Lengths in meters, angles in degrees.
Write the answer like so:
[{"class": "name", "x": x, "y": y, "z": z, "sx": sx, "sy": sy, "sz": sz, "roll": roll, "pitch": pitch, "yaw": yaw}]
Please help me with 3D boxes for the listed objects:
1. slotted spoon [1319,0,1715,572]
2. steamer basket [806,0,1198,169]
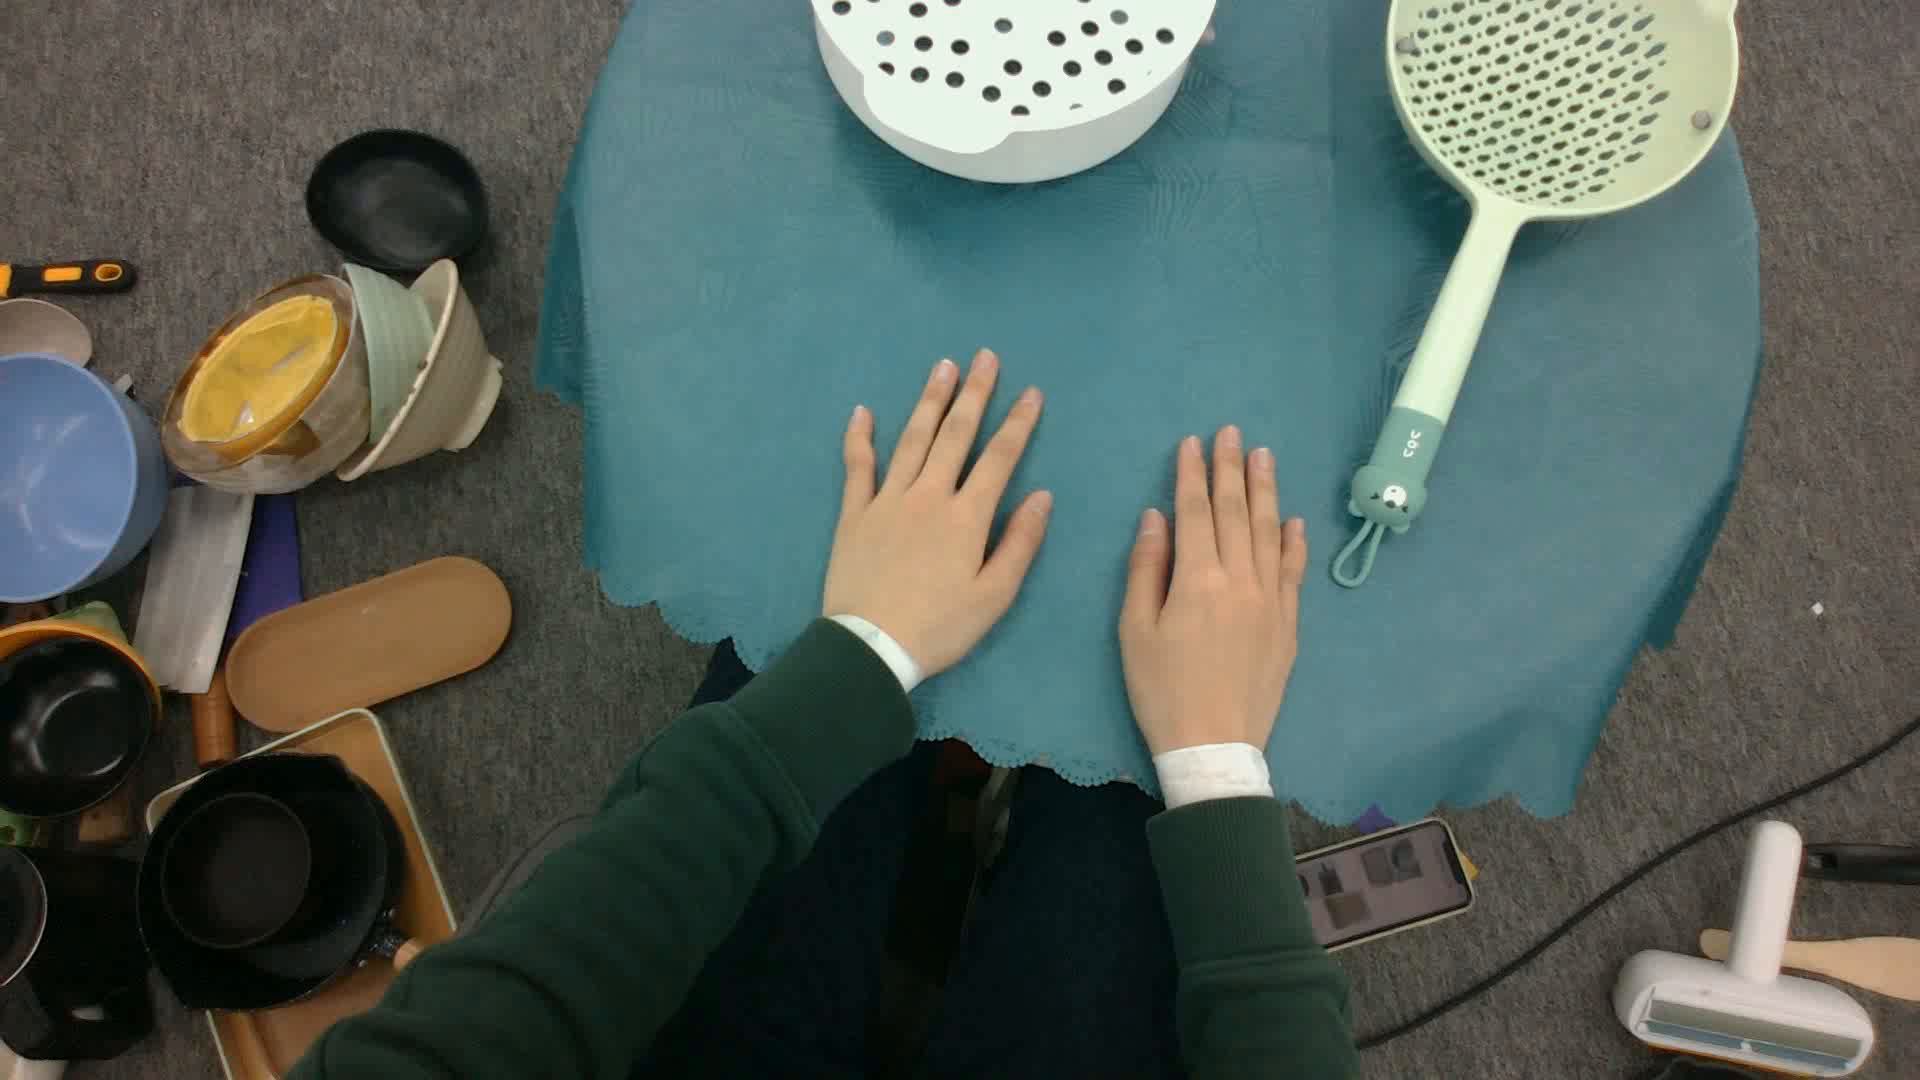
[{"class": "slotted spoon", "x": 0.246, "y": -0.152, "z": 0.666, "sx": 0.169, "sy": 0.075, "sz": 0.360, "roll": 22, "pitch": 73, "yaw": 4}, {"class": "steamer basket", "x": 0.019, "y": -0.284, "z": 0.694, "sx": 0.202, "sy": 0.069, "sz": 0.231, "roll": 20, "pitch": 74, "yaw": 5}]
